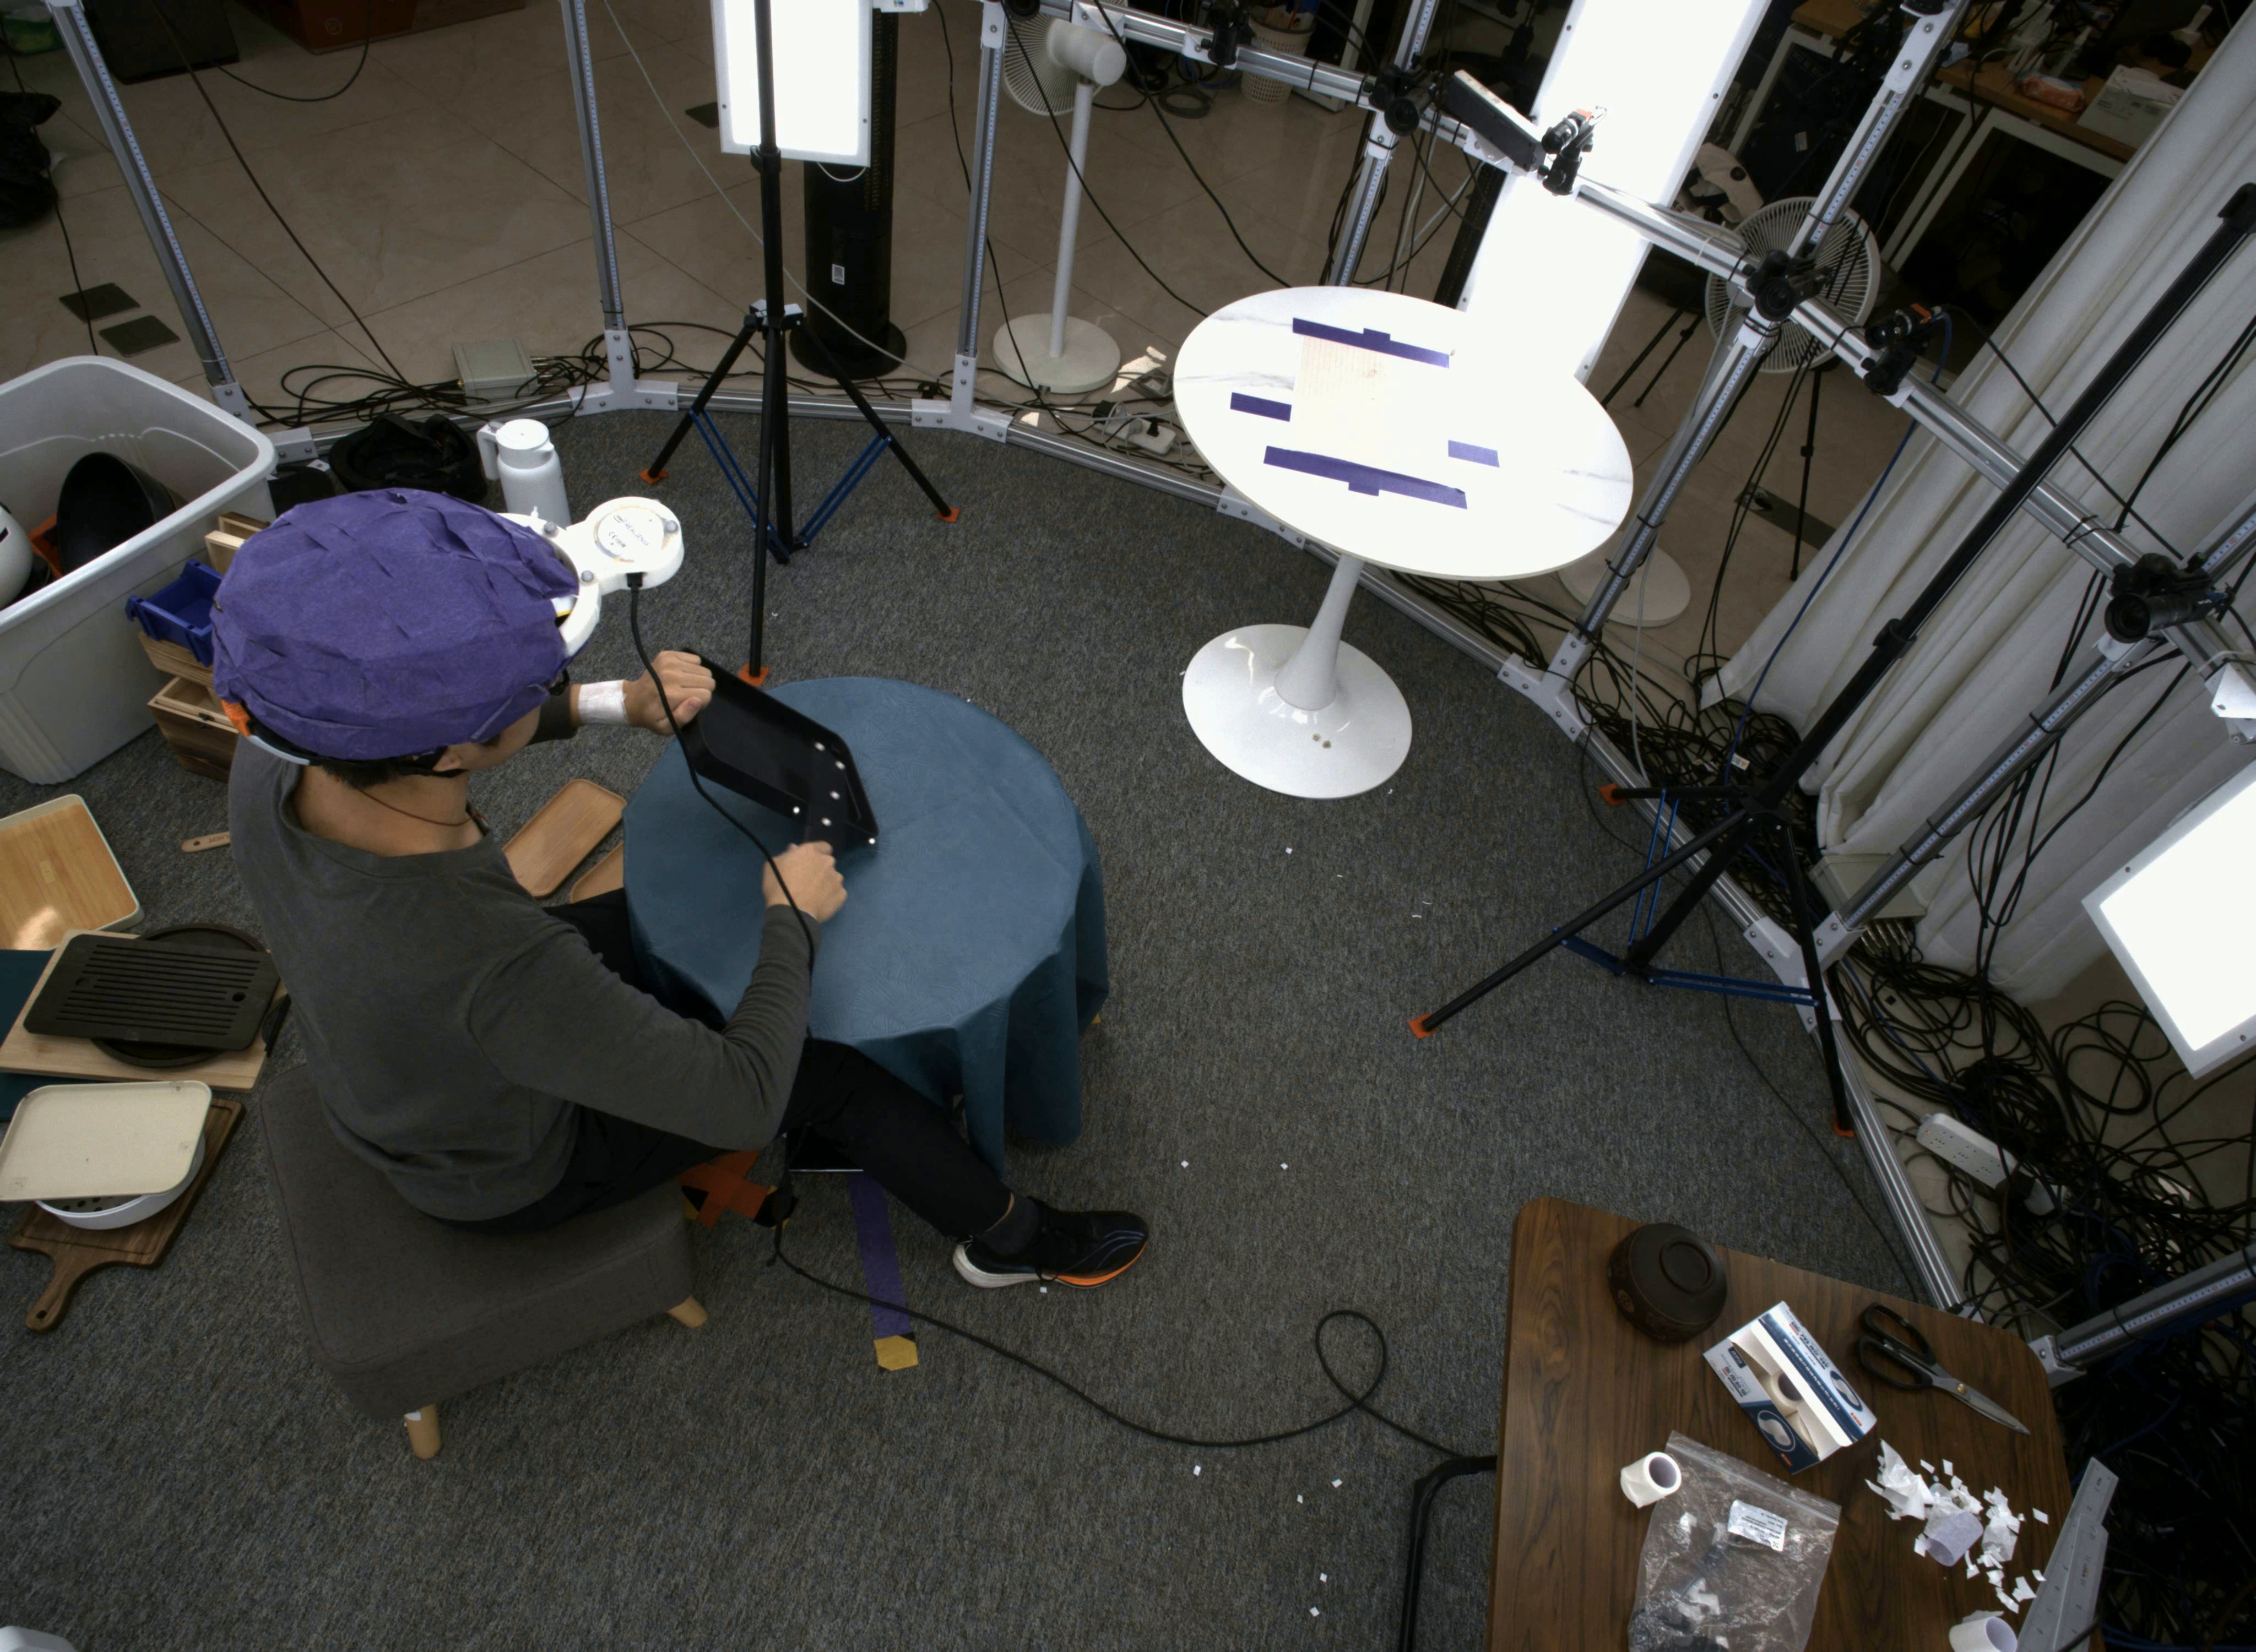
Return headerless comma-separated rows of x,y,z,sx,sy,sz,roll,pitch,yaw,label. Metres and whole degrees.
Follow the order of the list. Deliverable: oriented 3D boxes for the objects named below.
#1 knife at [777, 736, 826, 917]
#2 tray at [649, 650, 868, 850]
-0.398,-0.002,1.586,0.020,0.084,0.294,-30,38,18,knife
-0.463,-0.090,1.630,0.037,0.328,0.180,-35,61,13,tray
